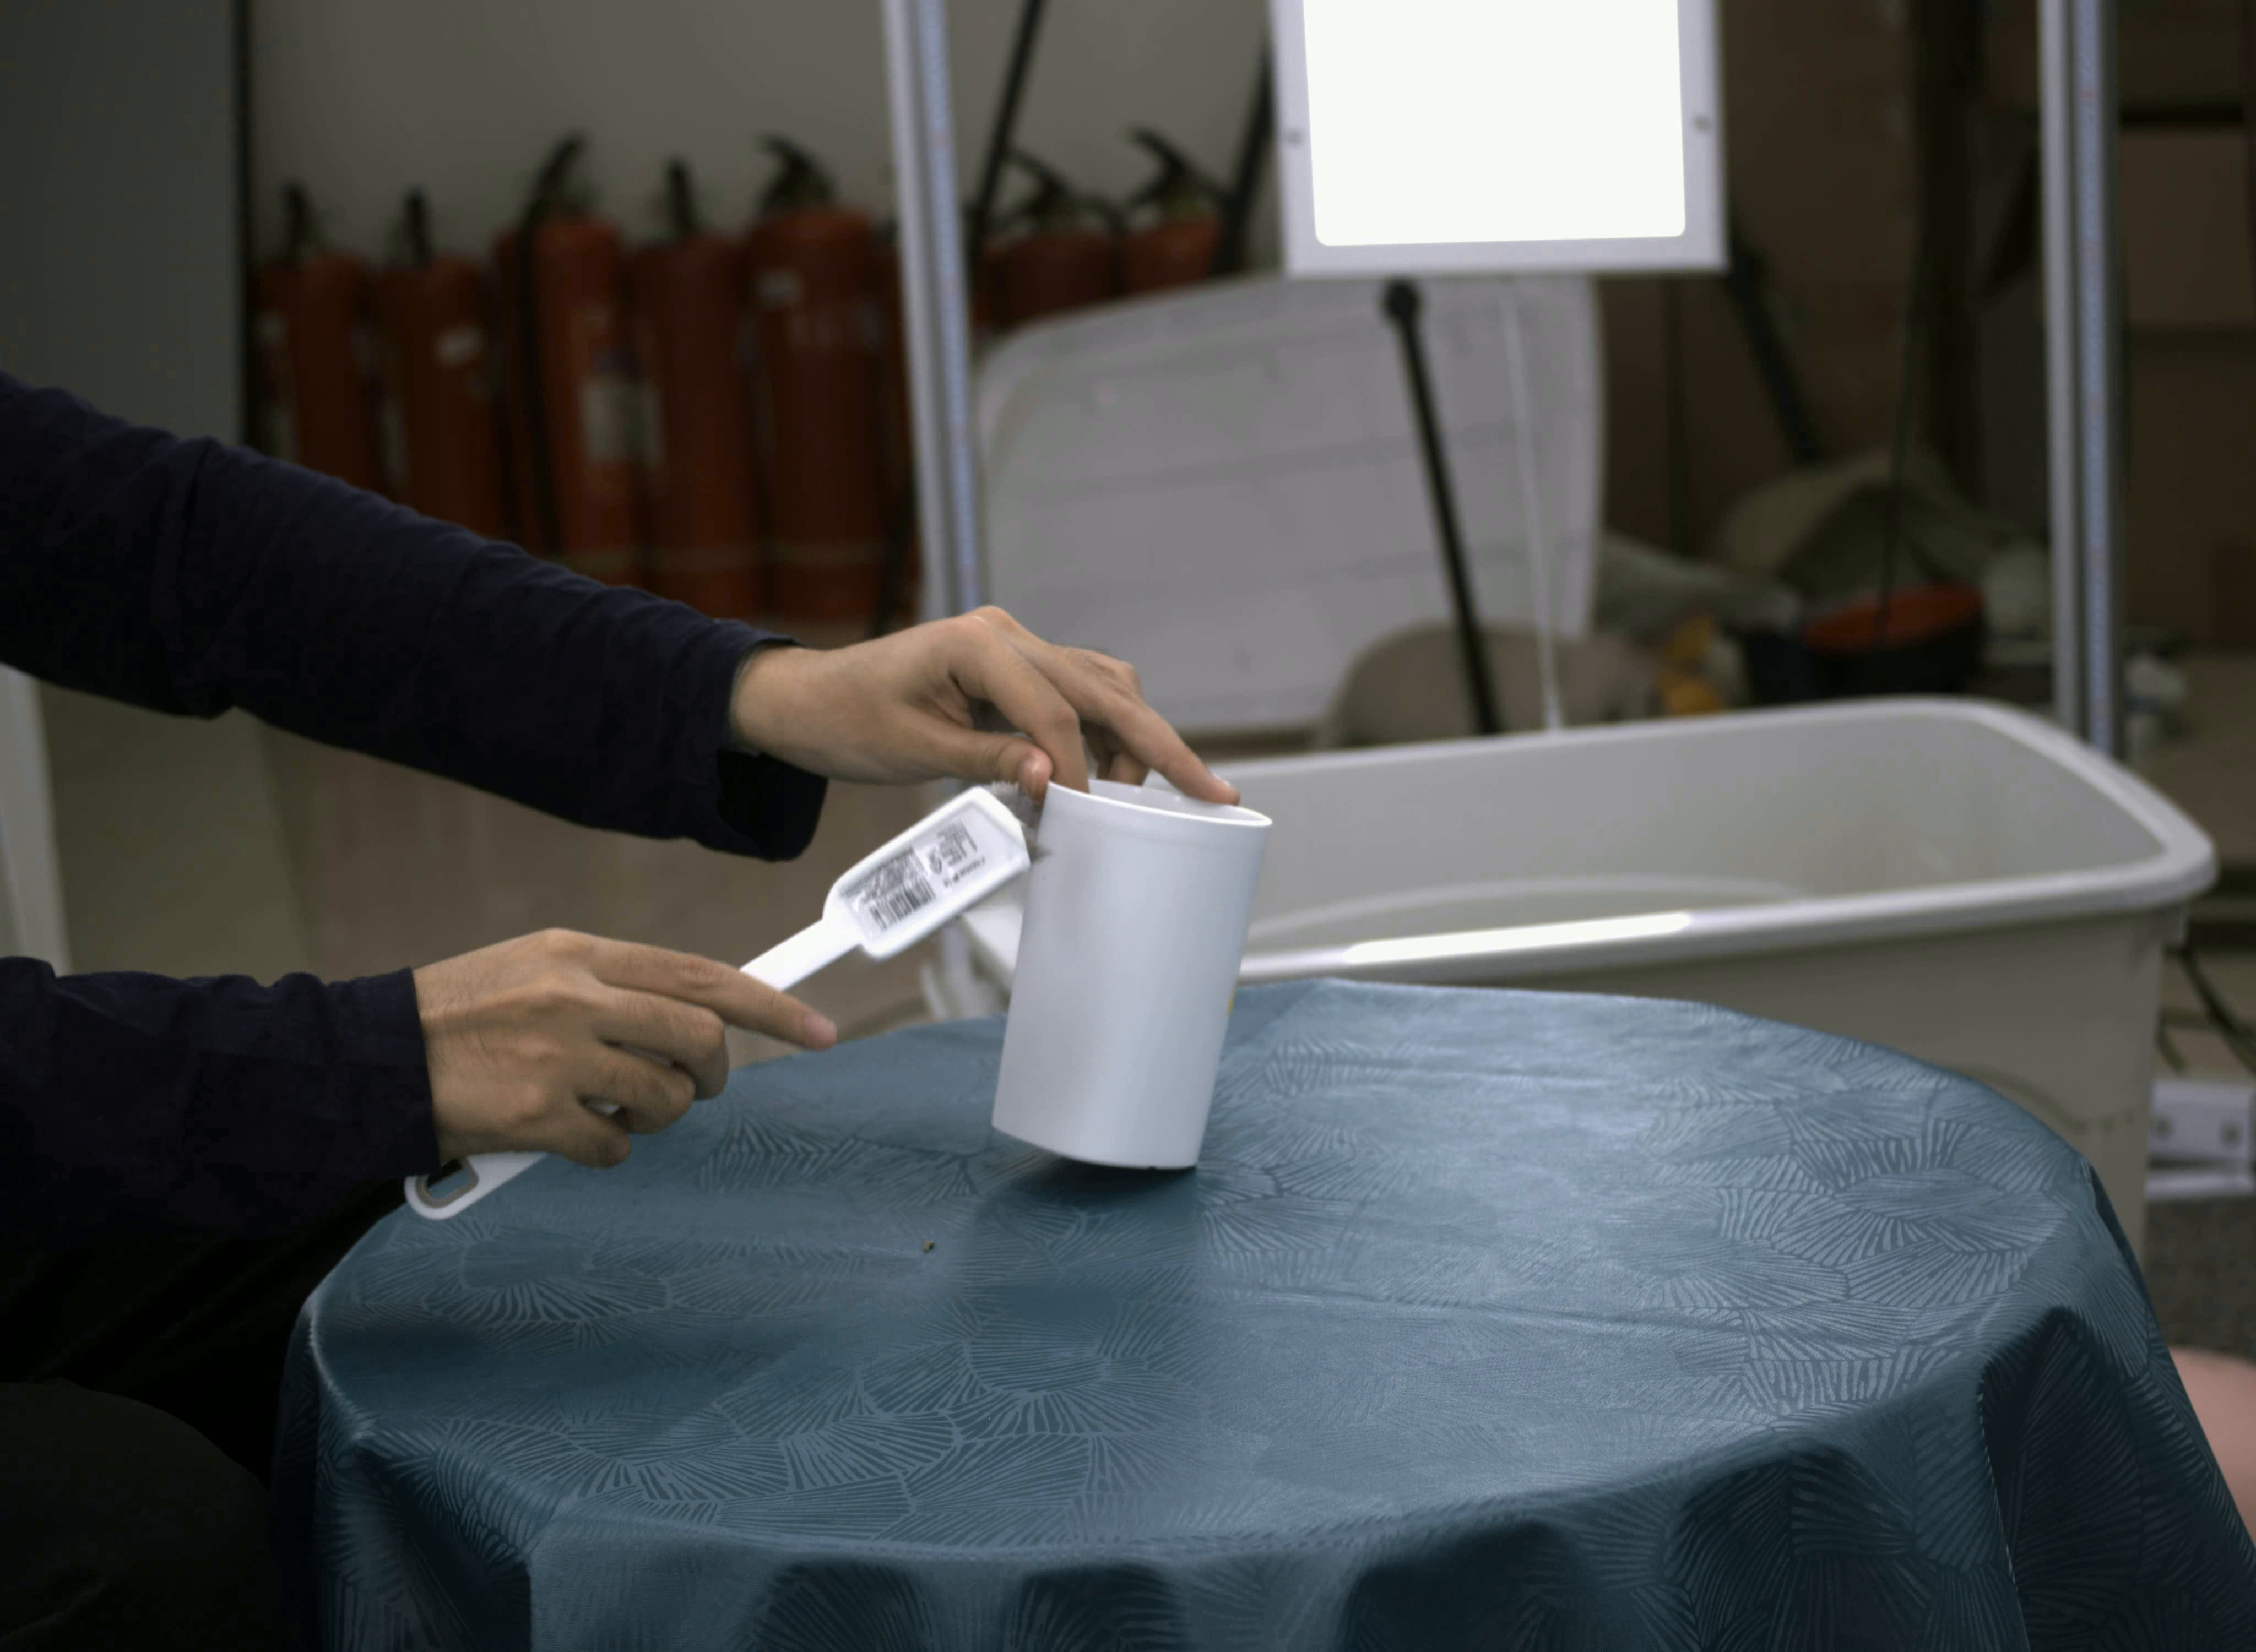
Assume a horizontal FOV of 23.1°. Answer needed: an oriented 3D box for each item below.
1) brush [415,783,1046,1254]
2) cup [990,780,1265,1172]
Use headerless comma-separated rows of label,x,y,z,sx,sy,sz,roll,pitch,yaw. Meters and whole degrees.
brush,-0.132,0.064,1.823,0.243,0.034,0.050,-35,3,-2
cup,-0.002,0.053,1.915,0.081,0.126,0.081,9,6,-2
